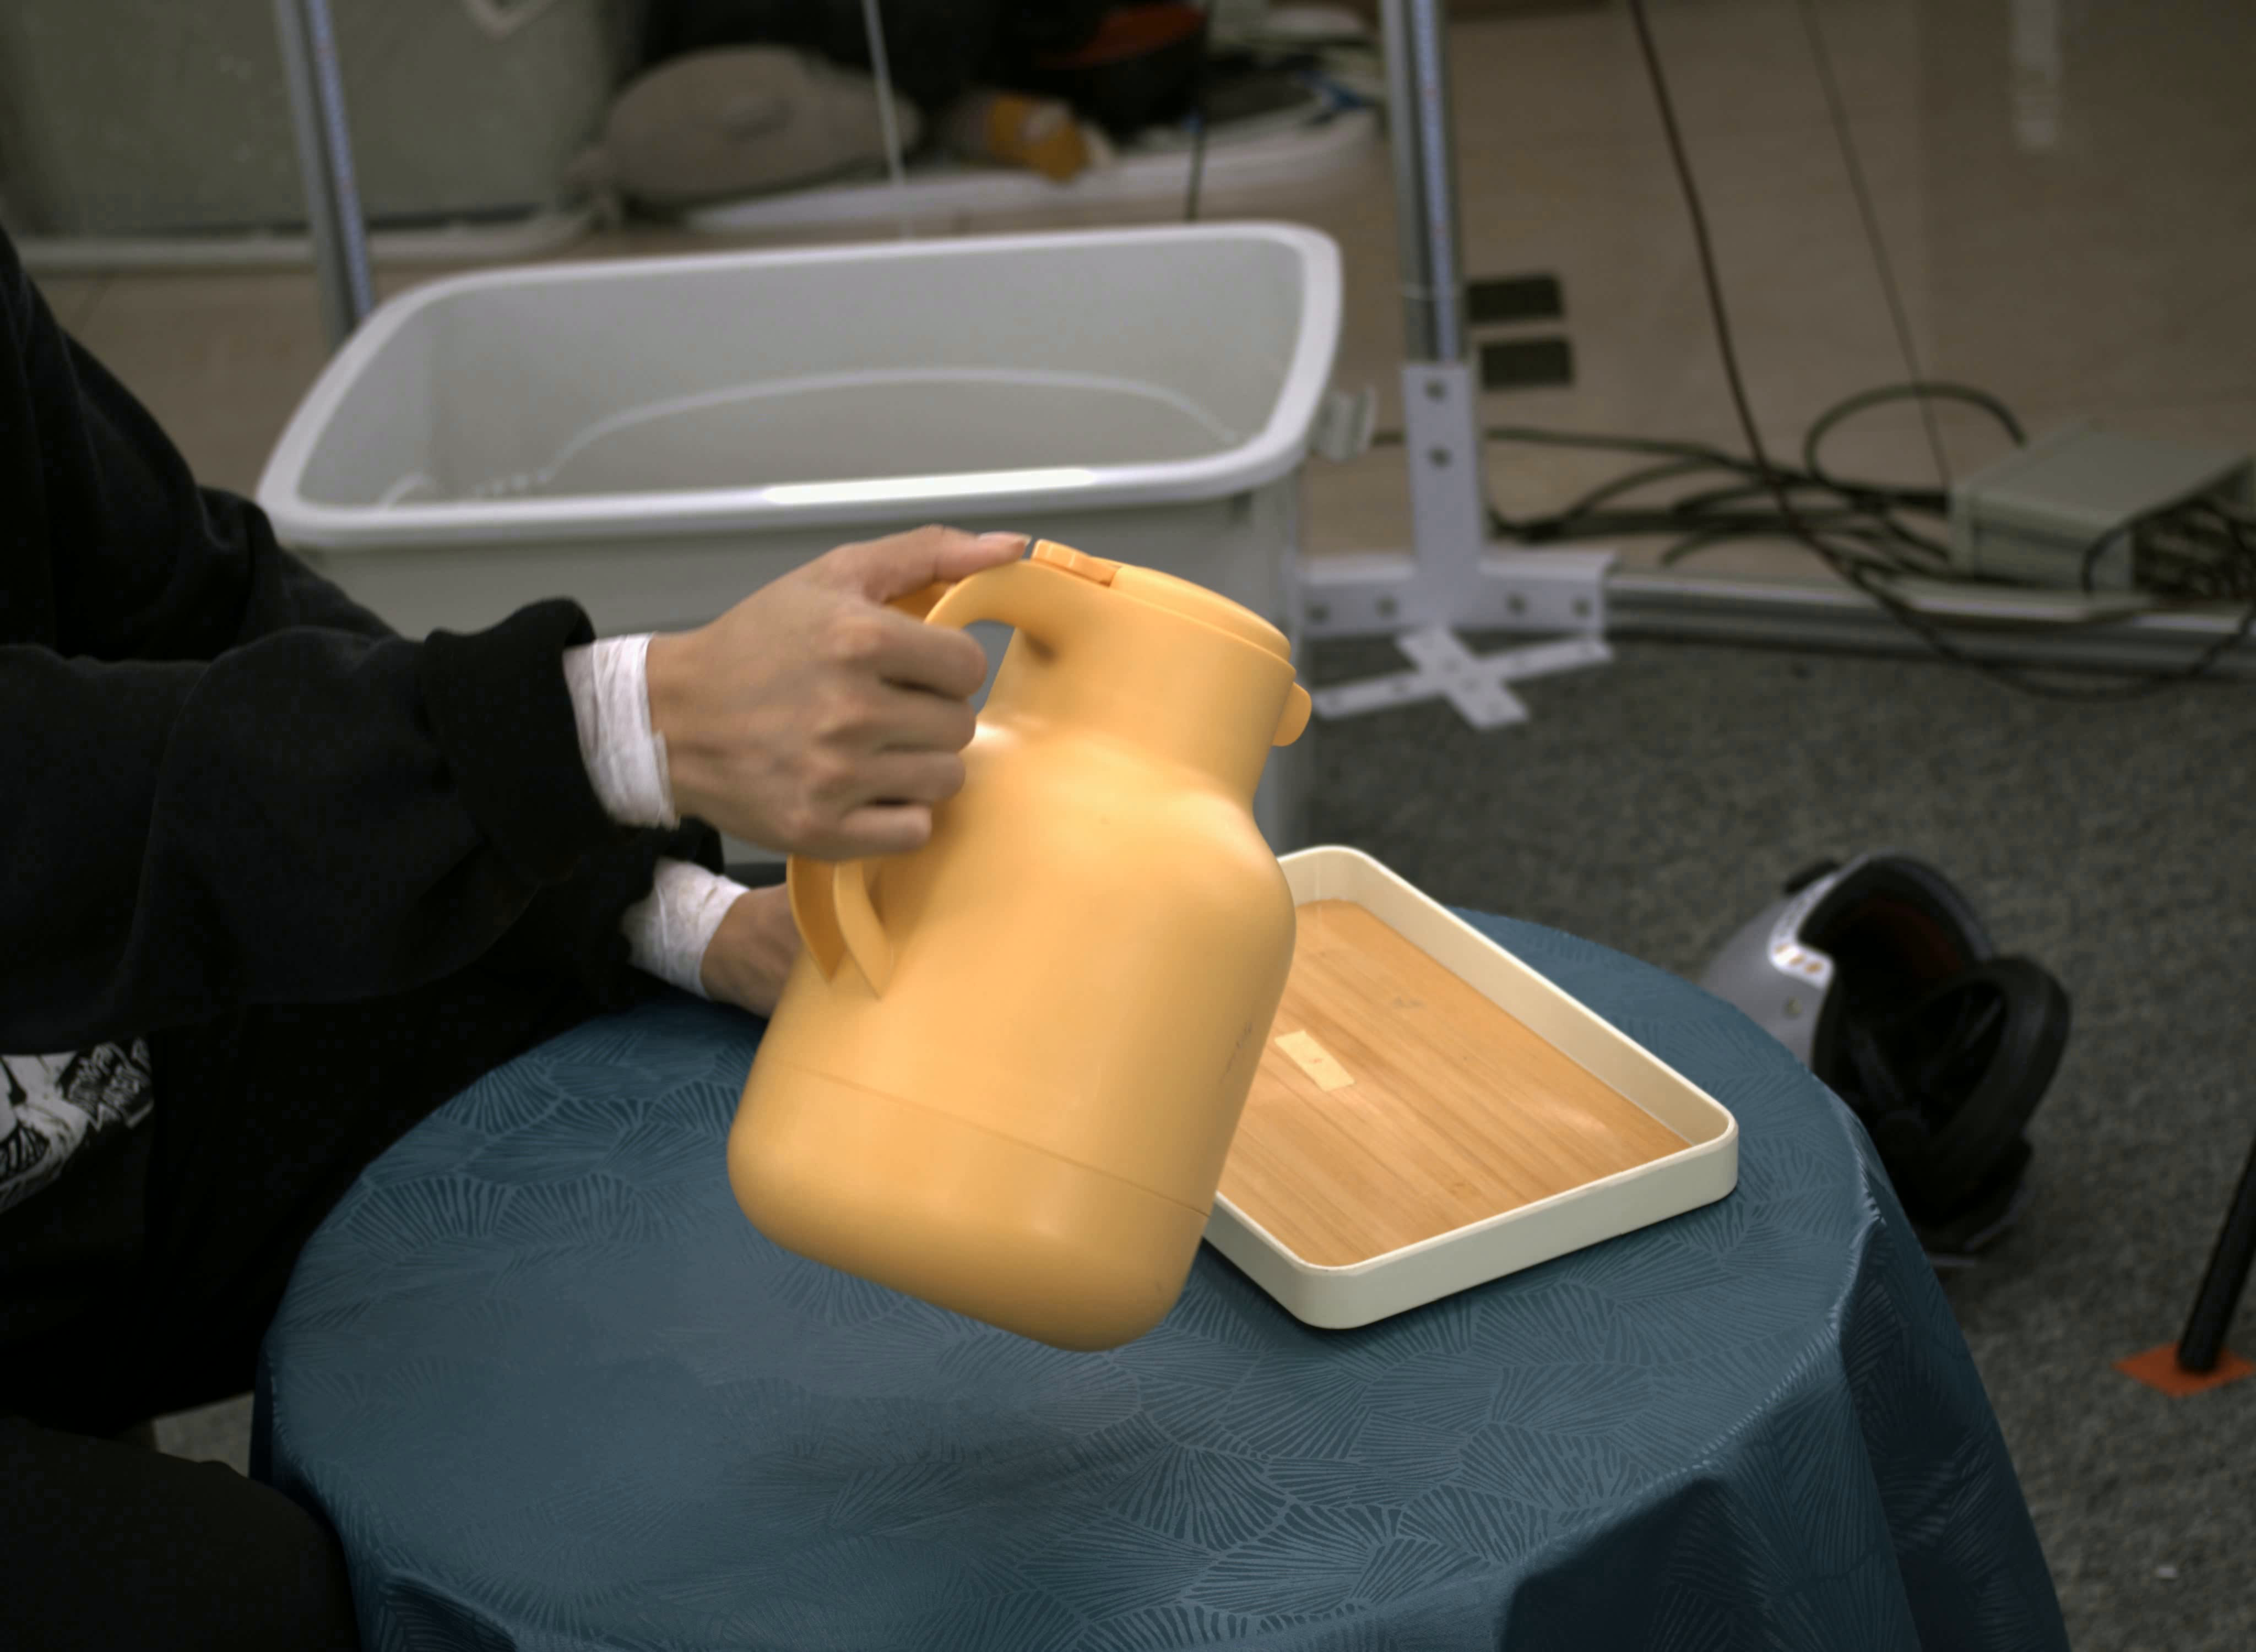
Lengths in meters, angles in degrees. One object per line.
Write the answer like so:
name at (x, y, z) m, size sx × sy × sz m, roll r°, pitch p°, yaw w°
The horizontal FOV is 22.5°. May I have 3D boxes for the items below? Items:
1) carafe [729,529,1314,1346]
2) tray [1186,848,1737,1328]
carafe at (-0.039, 0.030, 1.918) m, size 0.162 × 0.259 × 0.204 m, roll 11°, pitch -11°, yaw 45°
tray at (0.078, 0.095, 2.175) m, size 0.190 × 0.028 × 0.296 m, roll -17°, pitch 29°, yaw -24°
